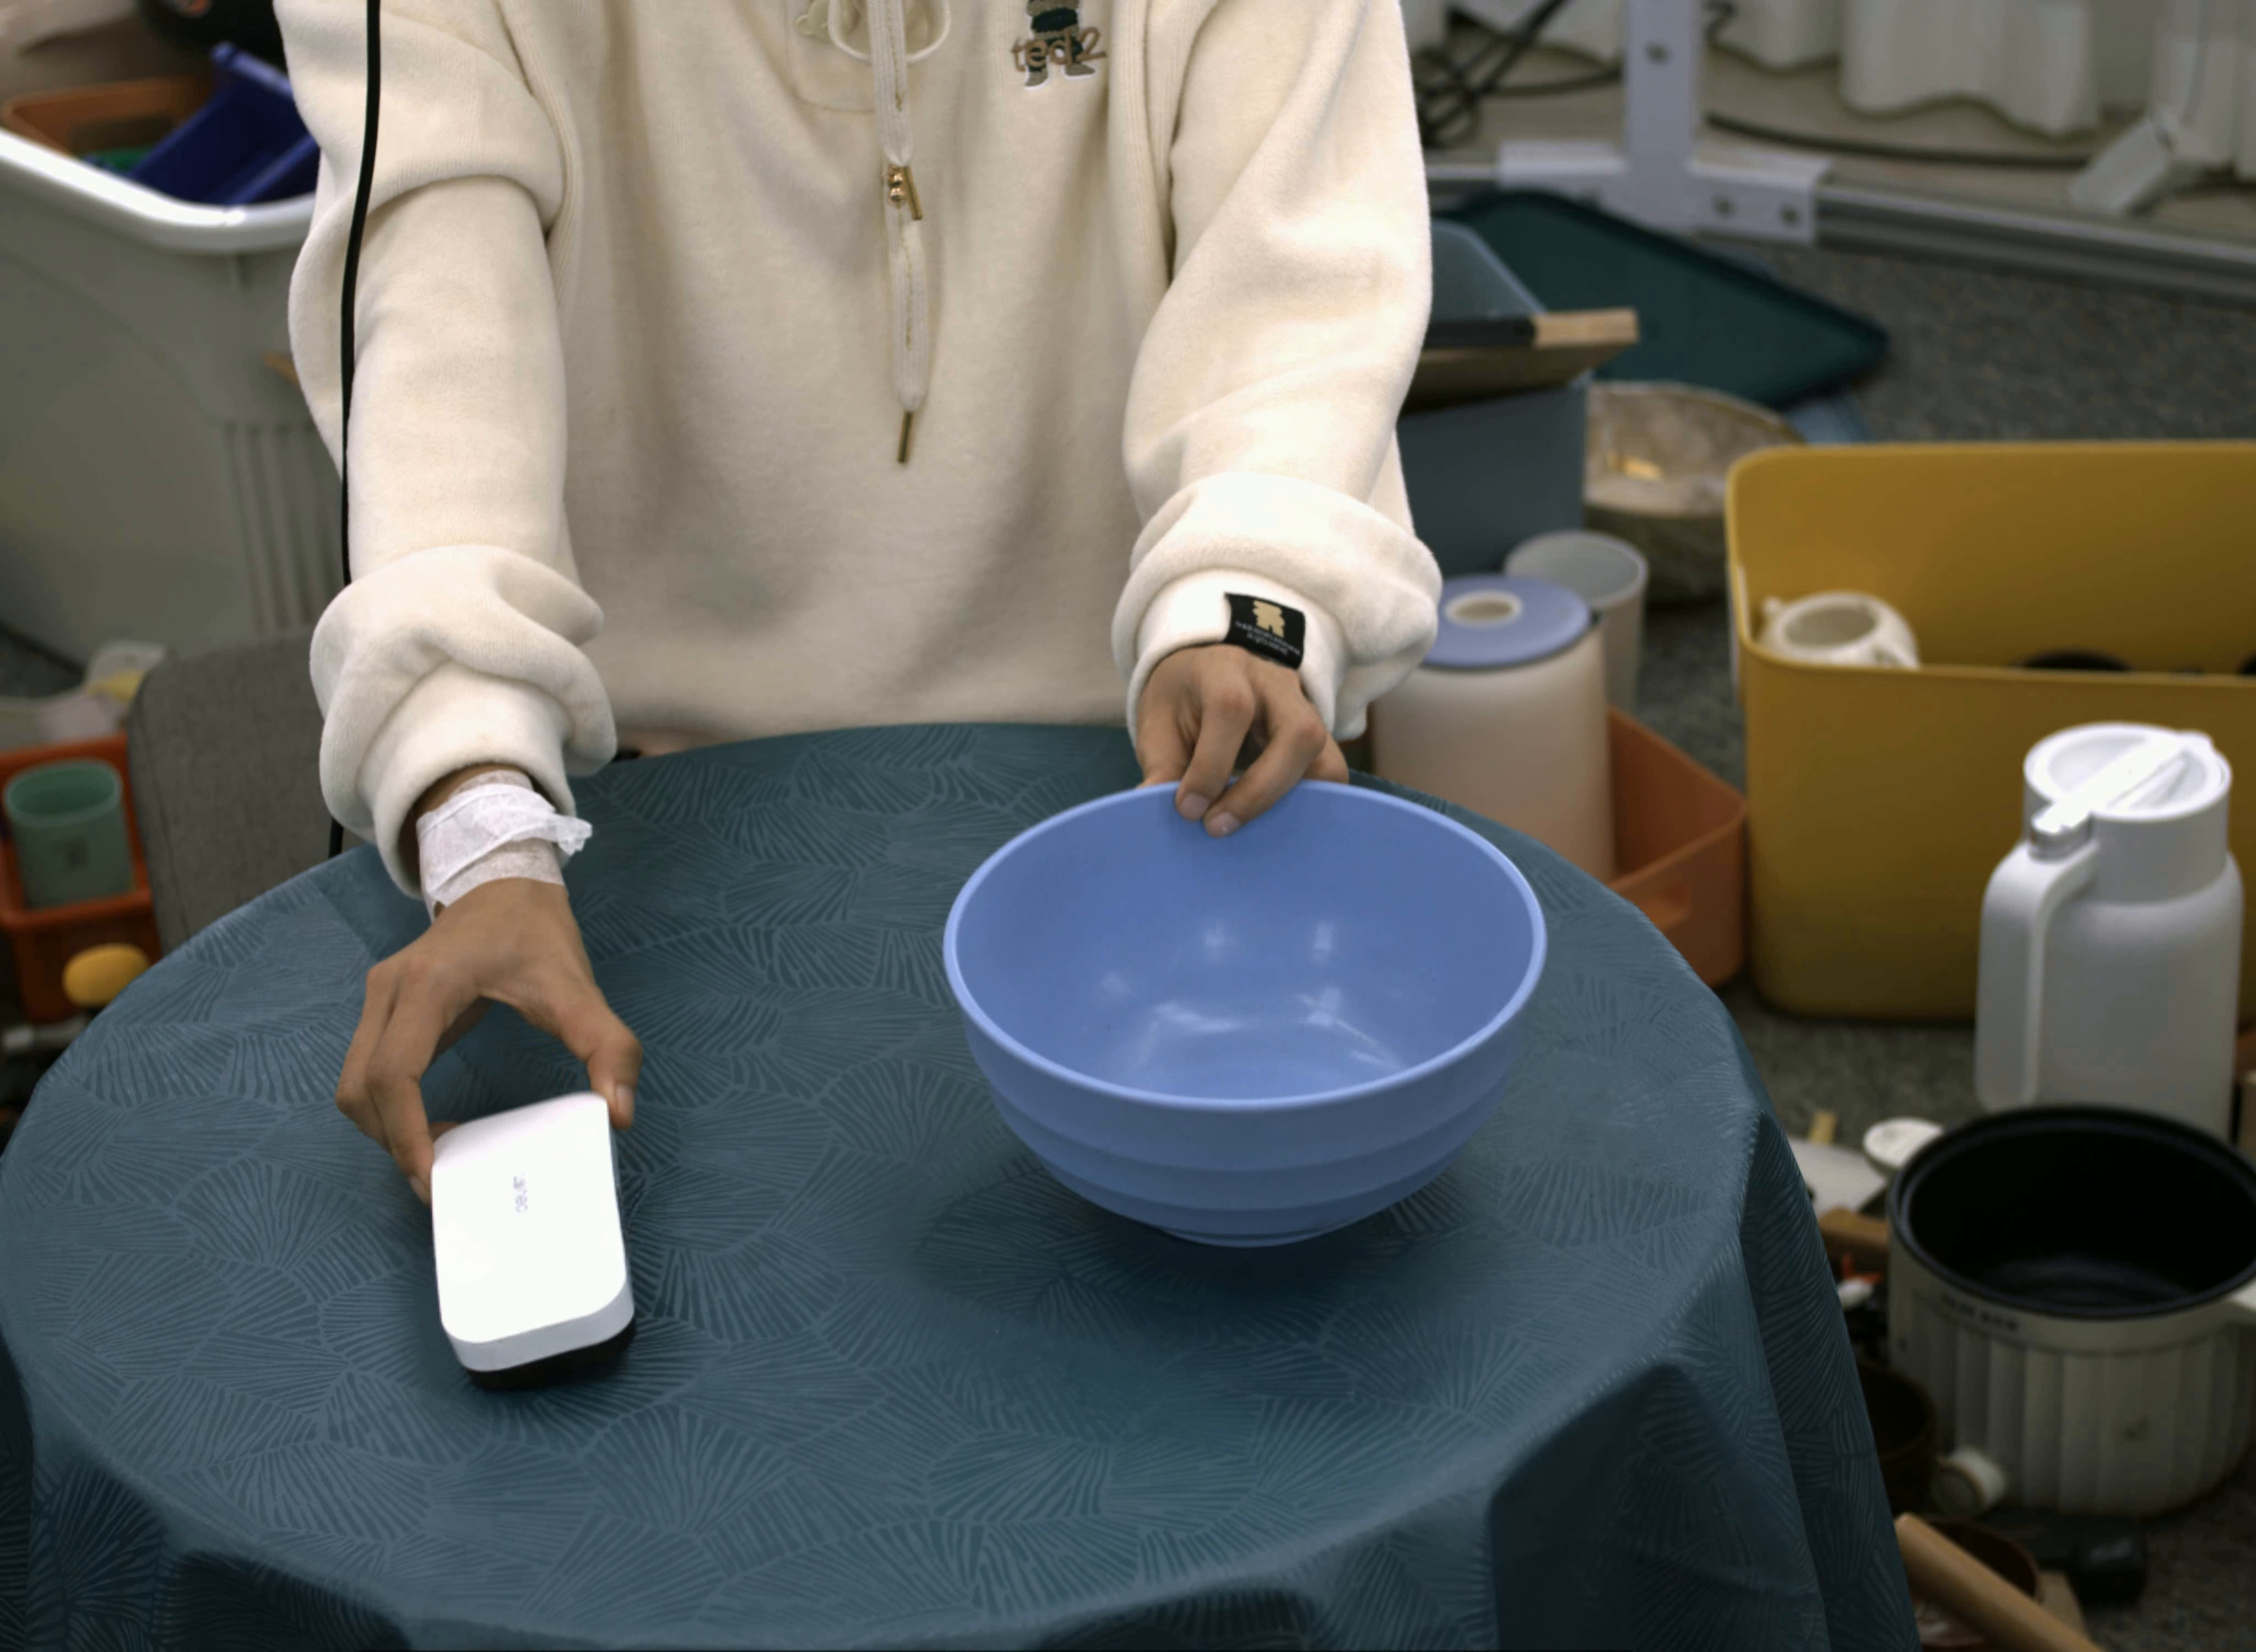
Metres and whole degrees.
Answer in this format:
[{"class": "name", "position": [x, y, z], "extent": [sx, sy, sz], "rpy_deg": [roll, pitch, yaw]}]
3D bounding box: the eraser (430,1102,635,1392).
[{"class": "eraser", "position": [-0.191, 0.133, 1.817], "extent": [0.063, 0.034, 0.133], "rpy_deg": [-12, 30, -2]}]

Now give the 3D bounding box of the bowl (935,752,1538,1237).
[{"class": "bowl", "position": [0.038, 0.070, 1.849], "extent": [0.195, 0.094, 0.200], "rpy_deg": [-3, 35, 2]}]
